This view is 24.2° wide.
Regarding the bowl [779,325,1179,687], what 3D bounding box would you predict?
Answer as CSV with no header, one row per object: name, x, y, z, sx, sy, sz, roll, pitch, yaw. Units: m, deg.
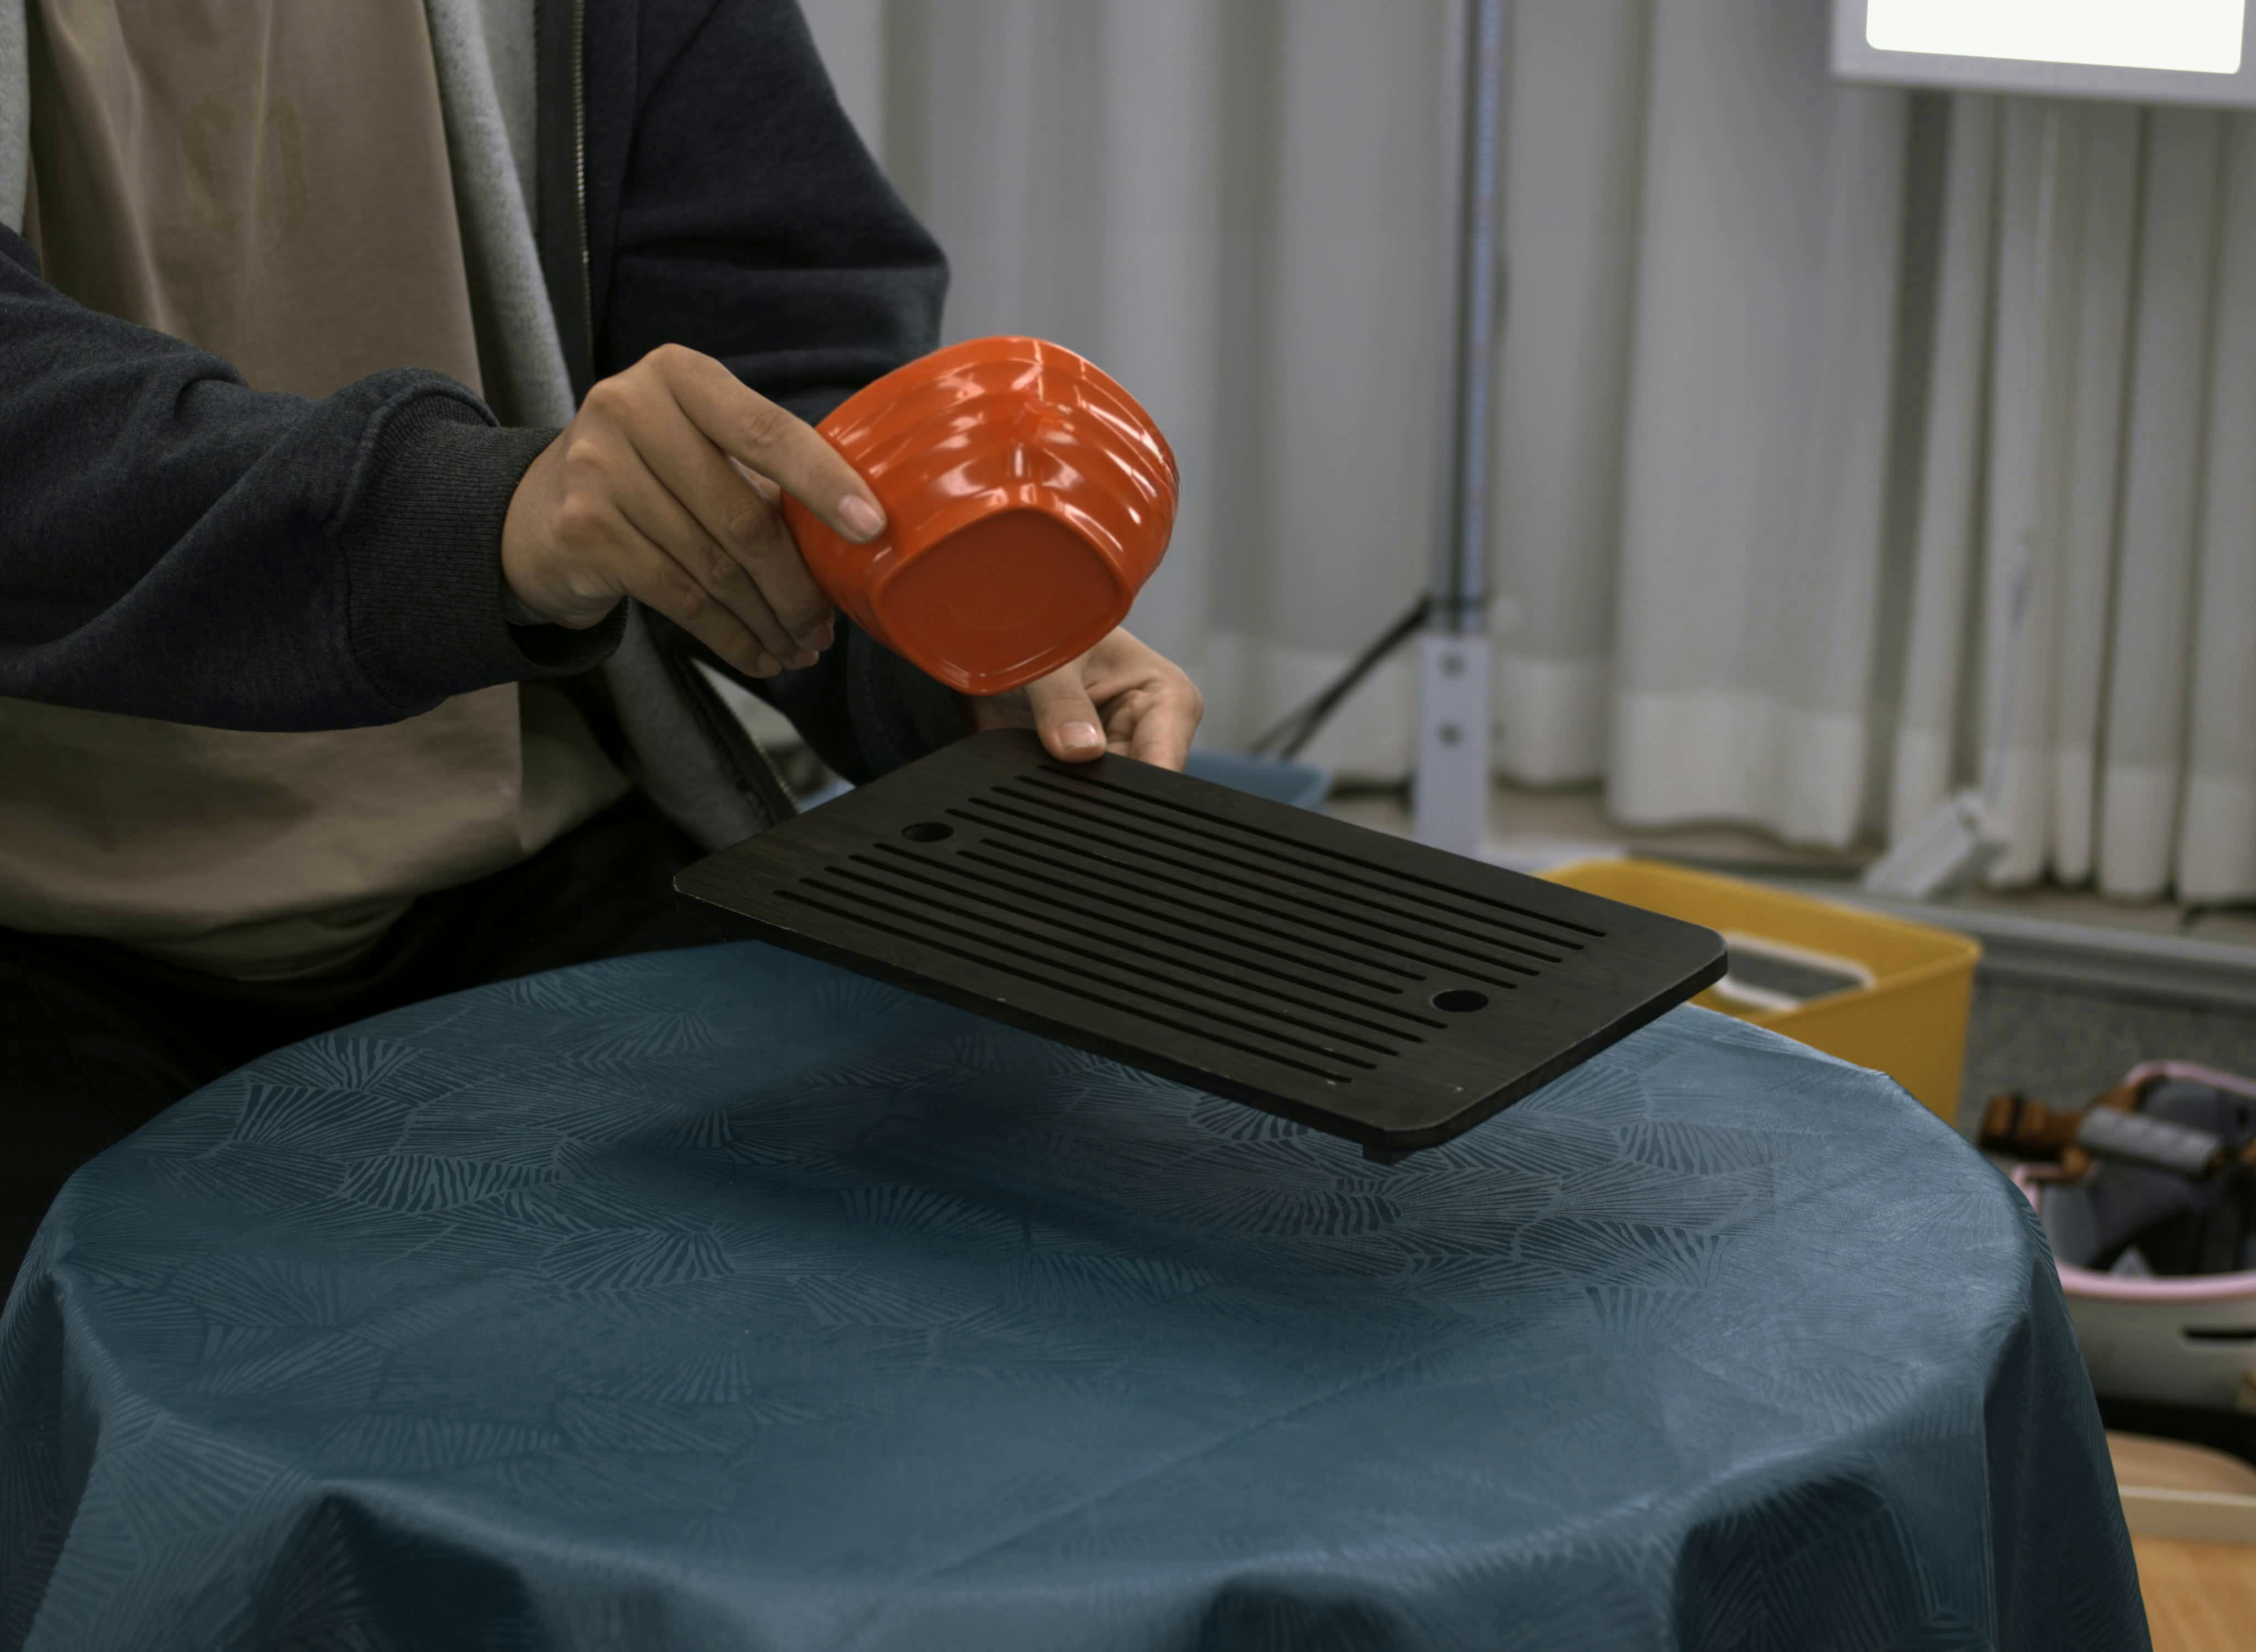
bowl,-0.040,-0.084,1.519,0.119,0.120,0.051,-3,48,-12

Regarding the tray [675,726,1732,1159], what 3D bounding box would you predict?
tray,0.020,0.032,1.643,0.302,0.019,0.170,17,29,36
